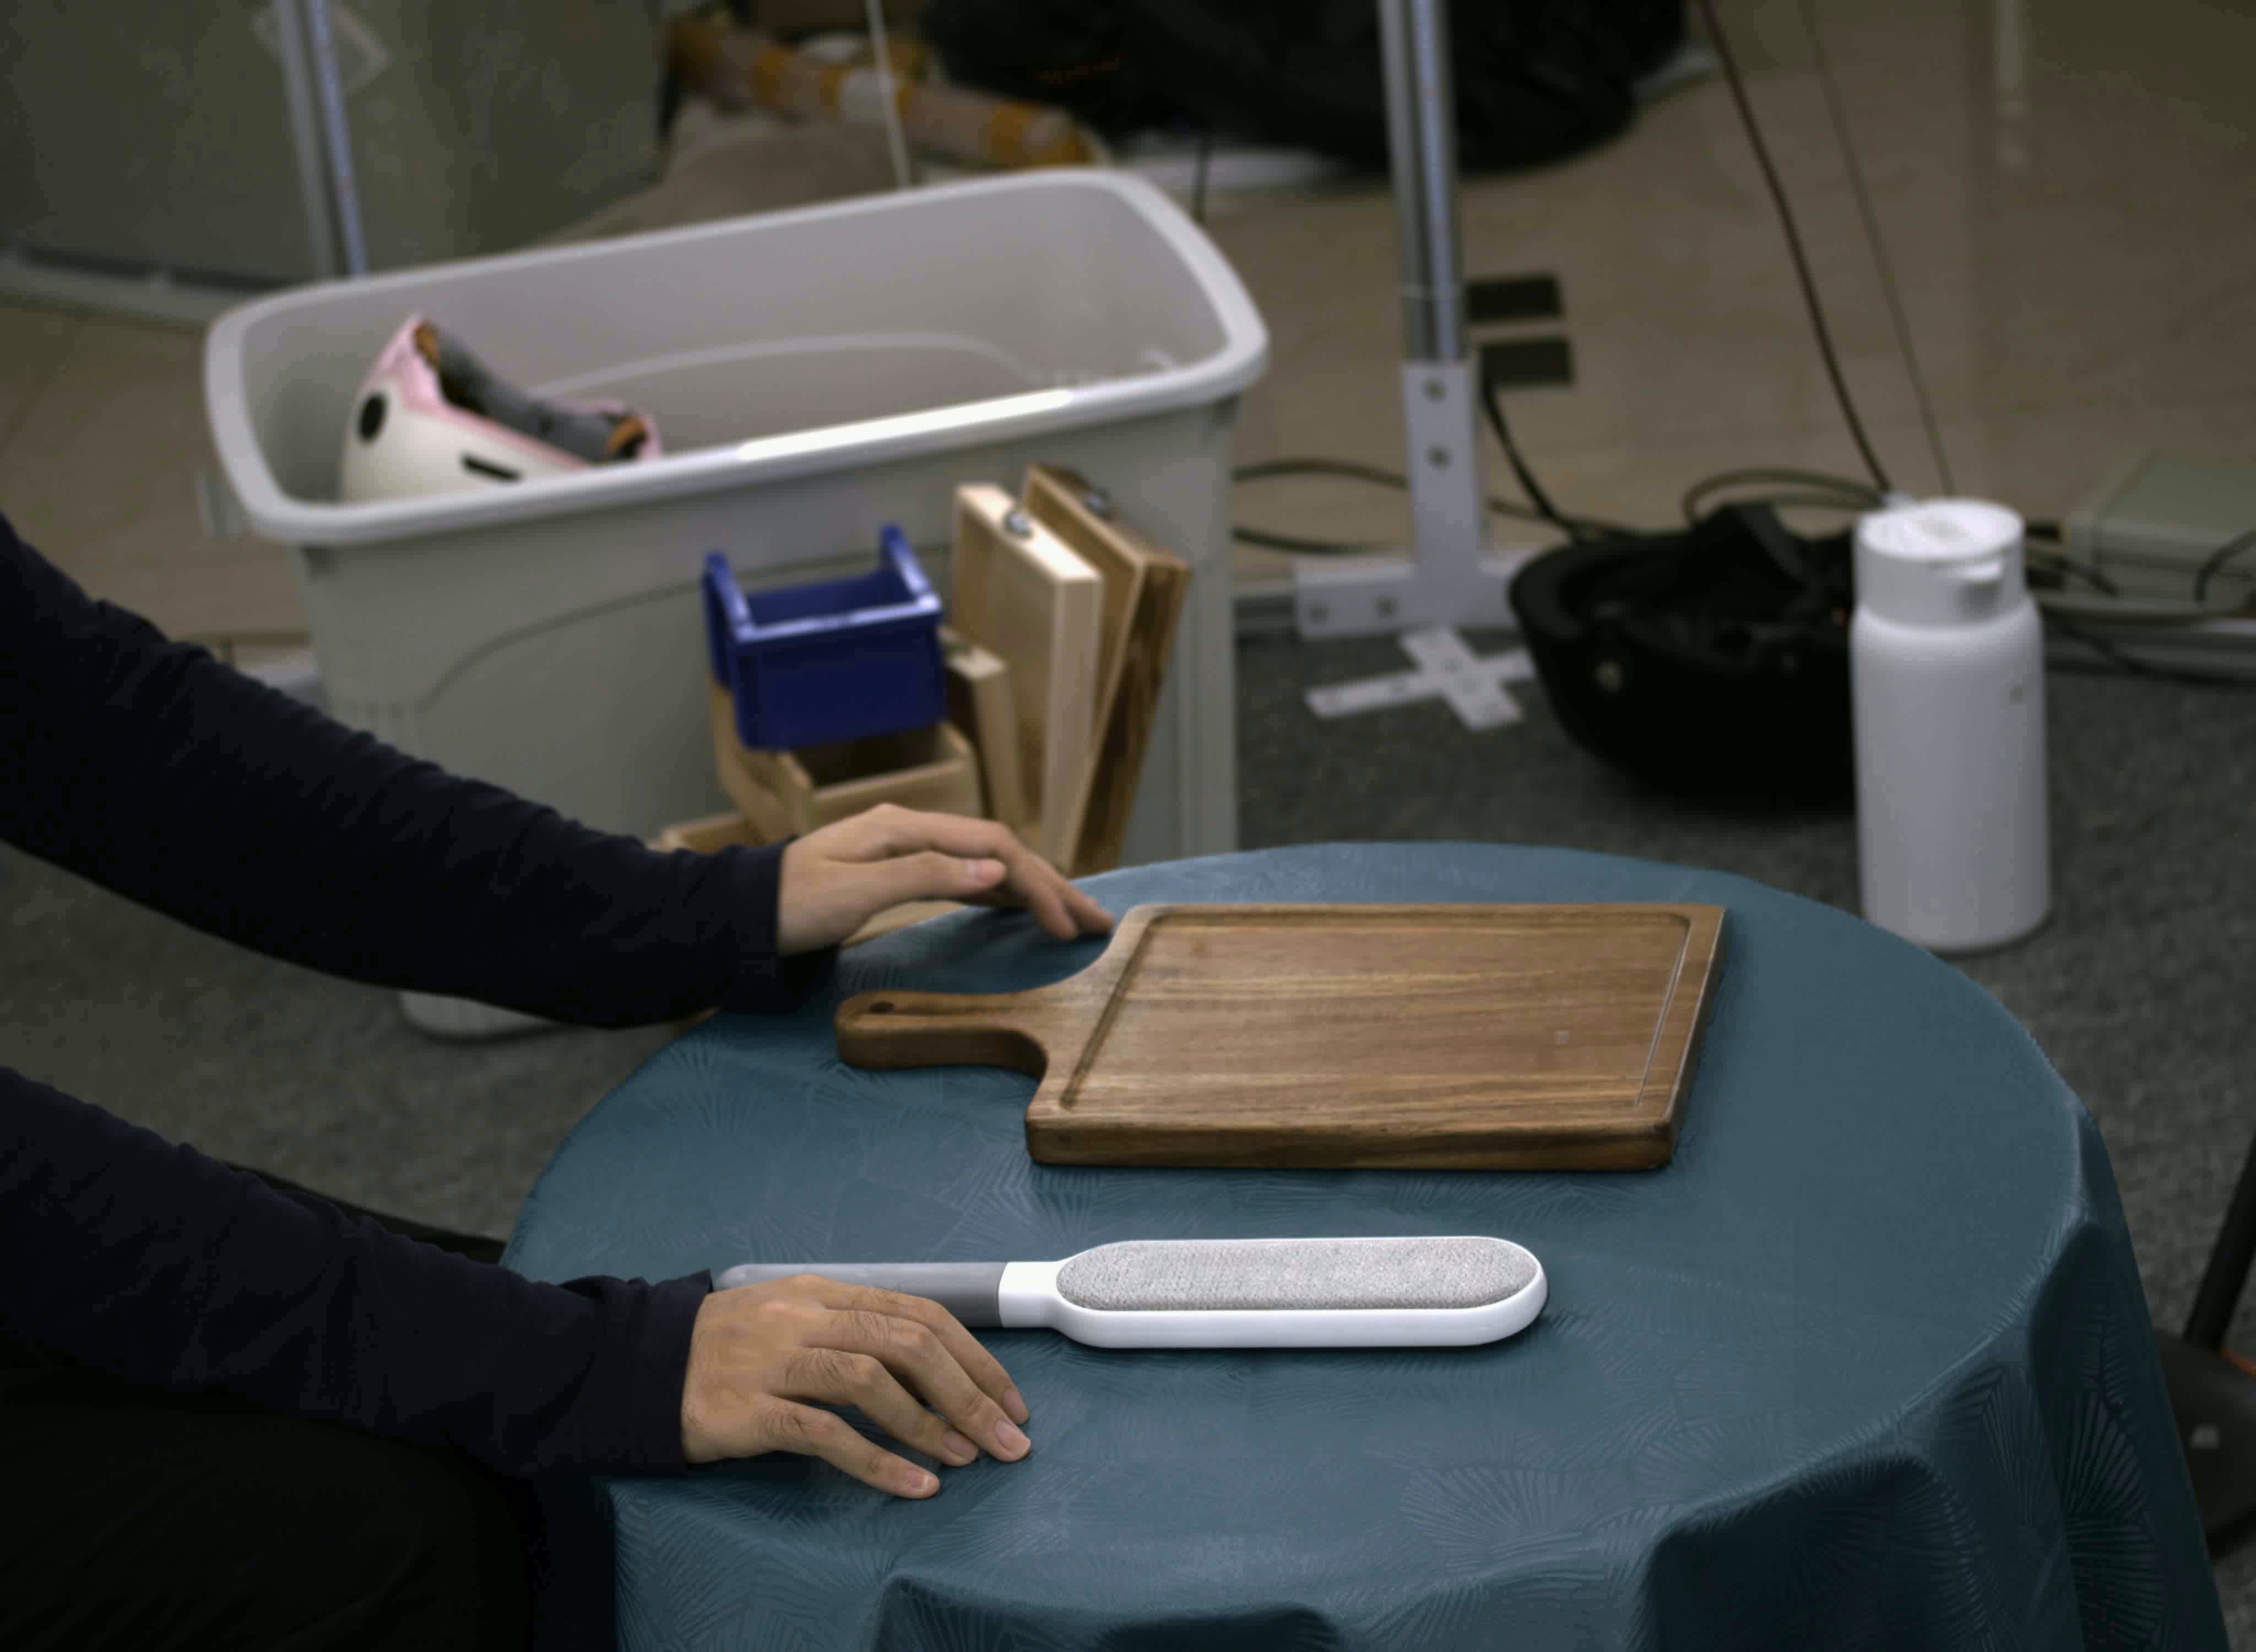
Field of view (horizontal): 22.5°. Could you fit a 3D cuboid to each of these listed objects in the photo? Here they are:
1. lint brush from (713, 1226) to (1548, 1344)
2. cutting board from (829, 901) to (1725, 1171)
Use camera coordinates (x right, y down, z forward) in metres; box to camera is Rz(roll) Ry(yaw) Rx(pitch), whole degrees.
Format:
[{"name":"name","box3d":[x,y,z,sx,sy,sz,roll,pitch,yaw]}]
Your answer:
[{"name":"lint brush","box3d":[-0.002,0.166,2.061,0.308,0.021,0.059,-1,31,12]},{"name":"cutting board","box3d":[0.052,0.081,2.241,0.351,0.023,0.198,-1,26,14]}]
